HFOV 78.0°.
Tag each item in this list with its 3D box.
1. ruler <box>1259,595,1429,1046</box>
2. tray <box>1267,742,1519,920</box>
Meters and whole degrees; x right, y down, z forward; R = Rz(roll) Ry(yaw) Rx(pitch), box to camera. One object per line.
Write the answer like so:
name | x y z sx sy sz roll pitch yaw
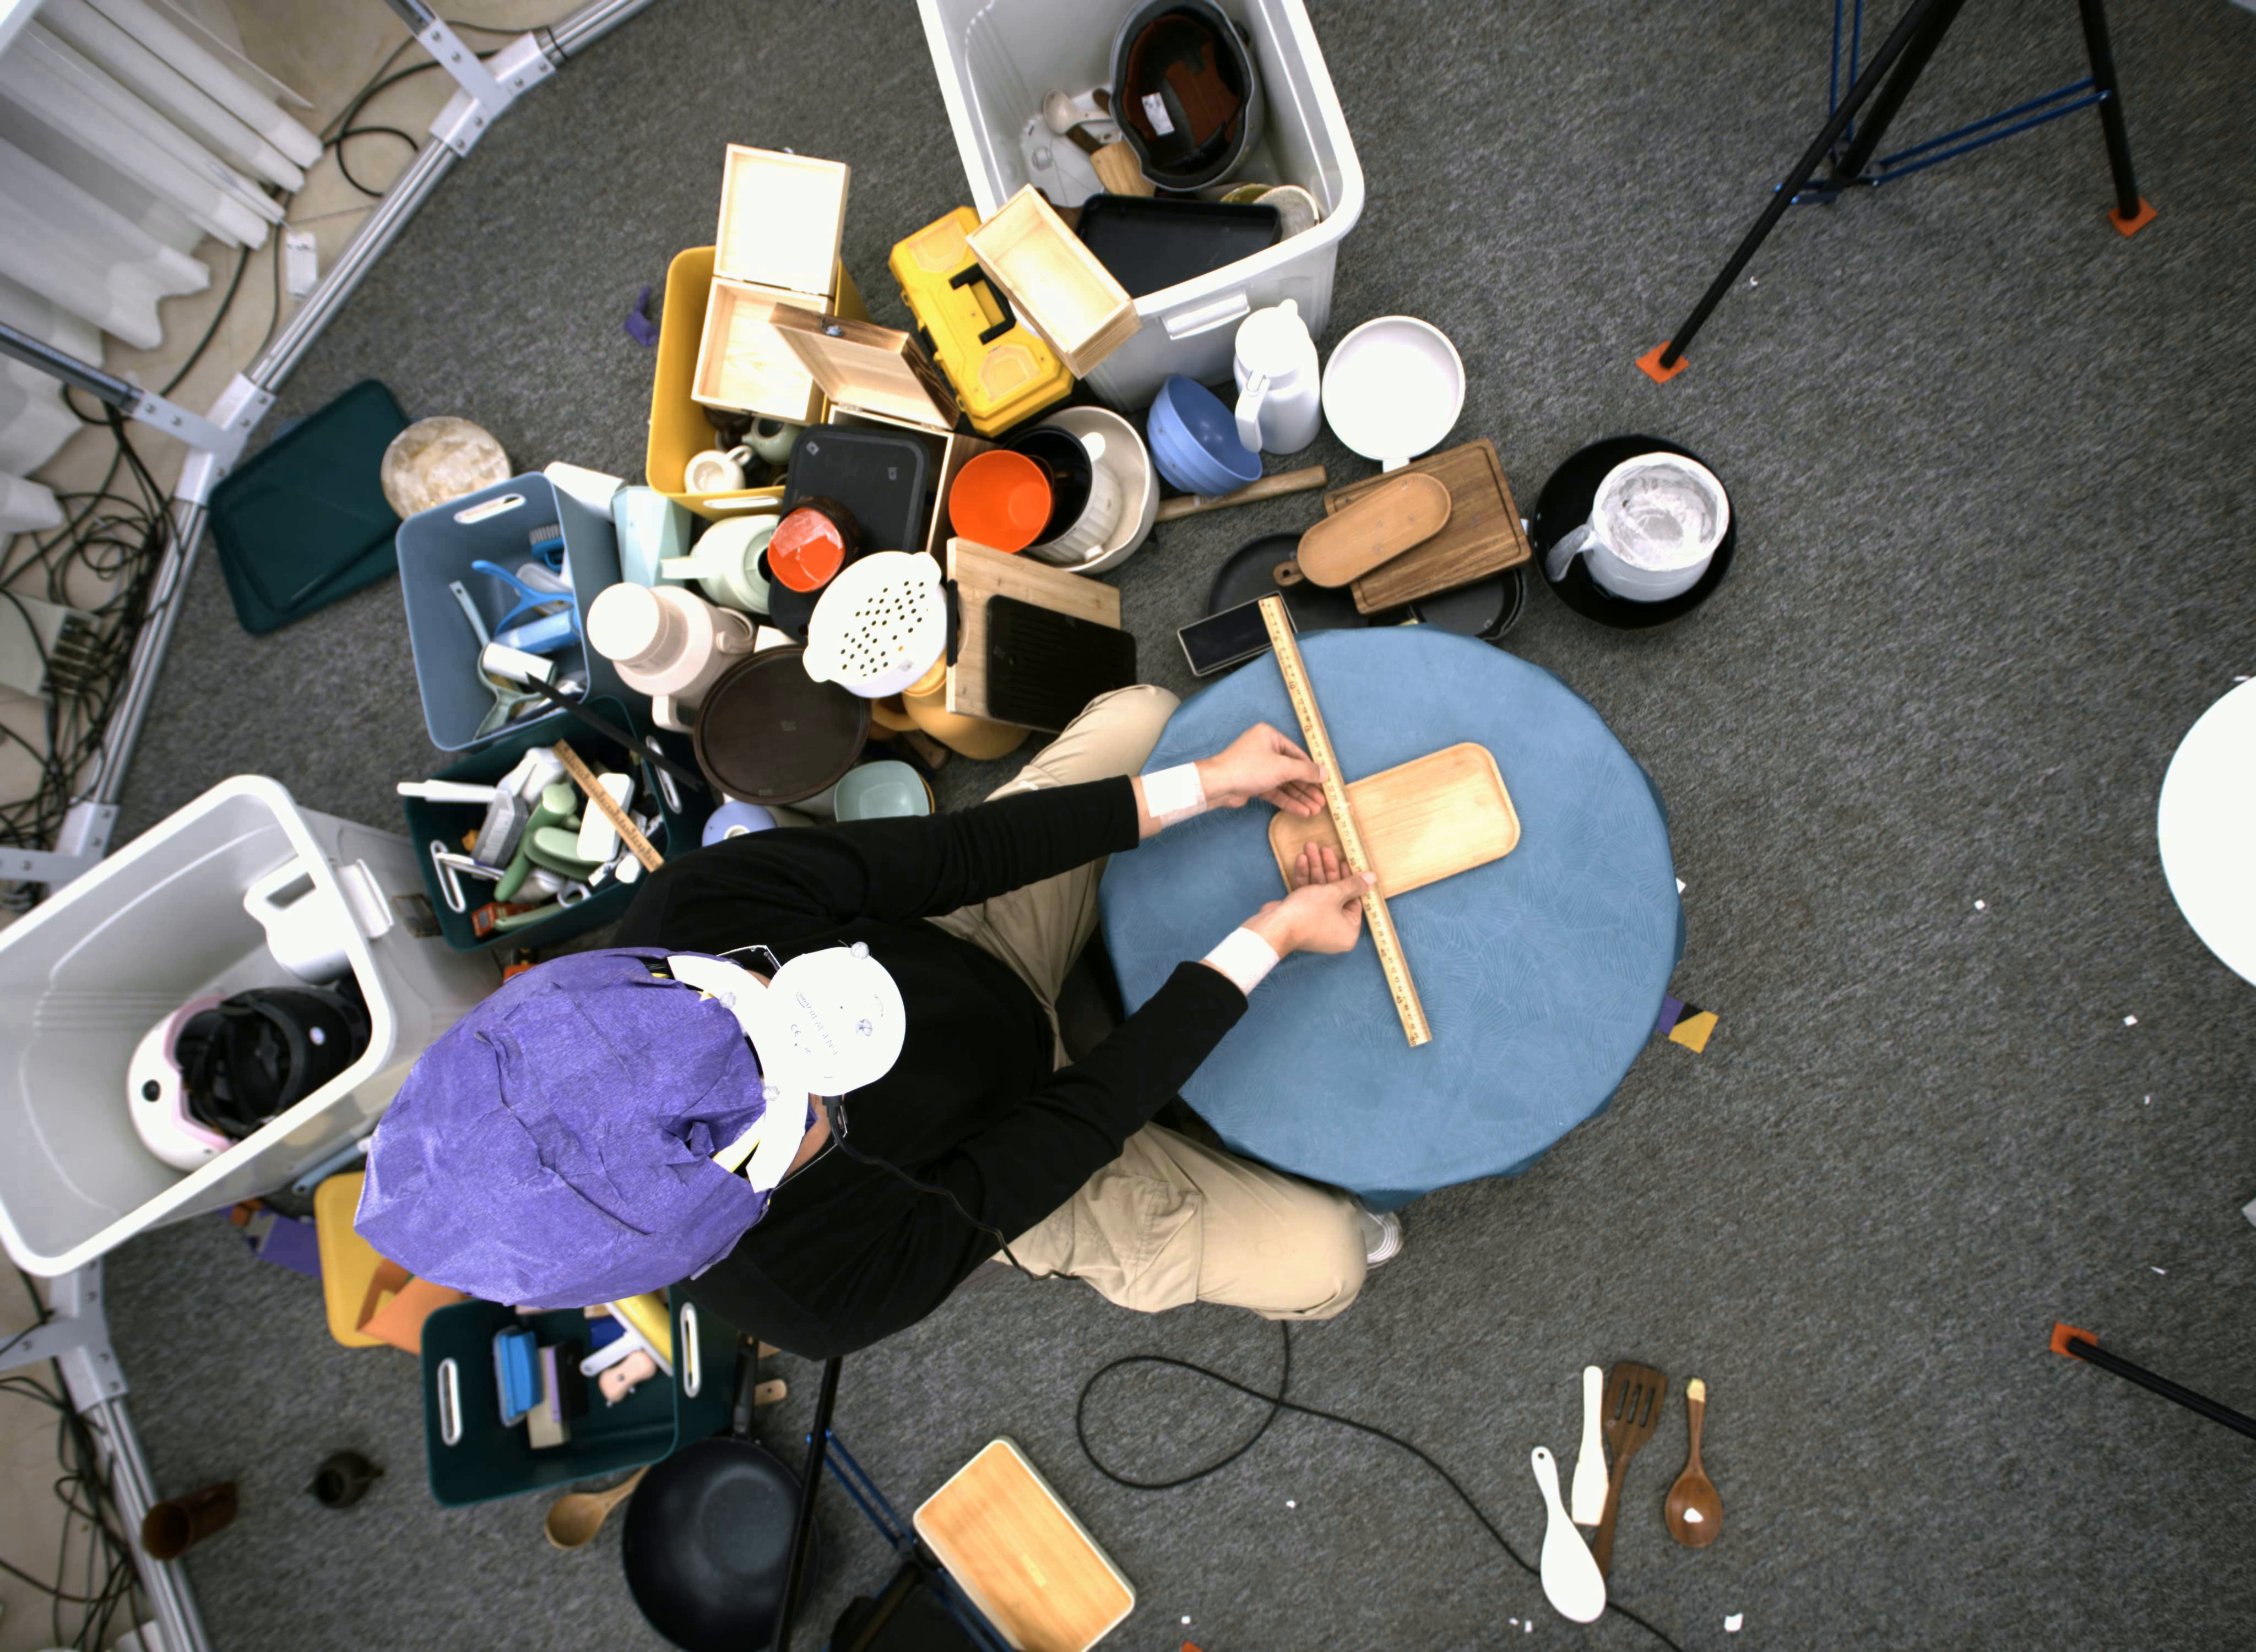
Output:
ruler | 0.225 -0.013 1.451 0.026 0.006 0.497 -16 83 -12
tray | 0.278 0.005 1.454 0.252 0.023 0.129 -19 81 10
